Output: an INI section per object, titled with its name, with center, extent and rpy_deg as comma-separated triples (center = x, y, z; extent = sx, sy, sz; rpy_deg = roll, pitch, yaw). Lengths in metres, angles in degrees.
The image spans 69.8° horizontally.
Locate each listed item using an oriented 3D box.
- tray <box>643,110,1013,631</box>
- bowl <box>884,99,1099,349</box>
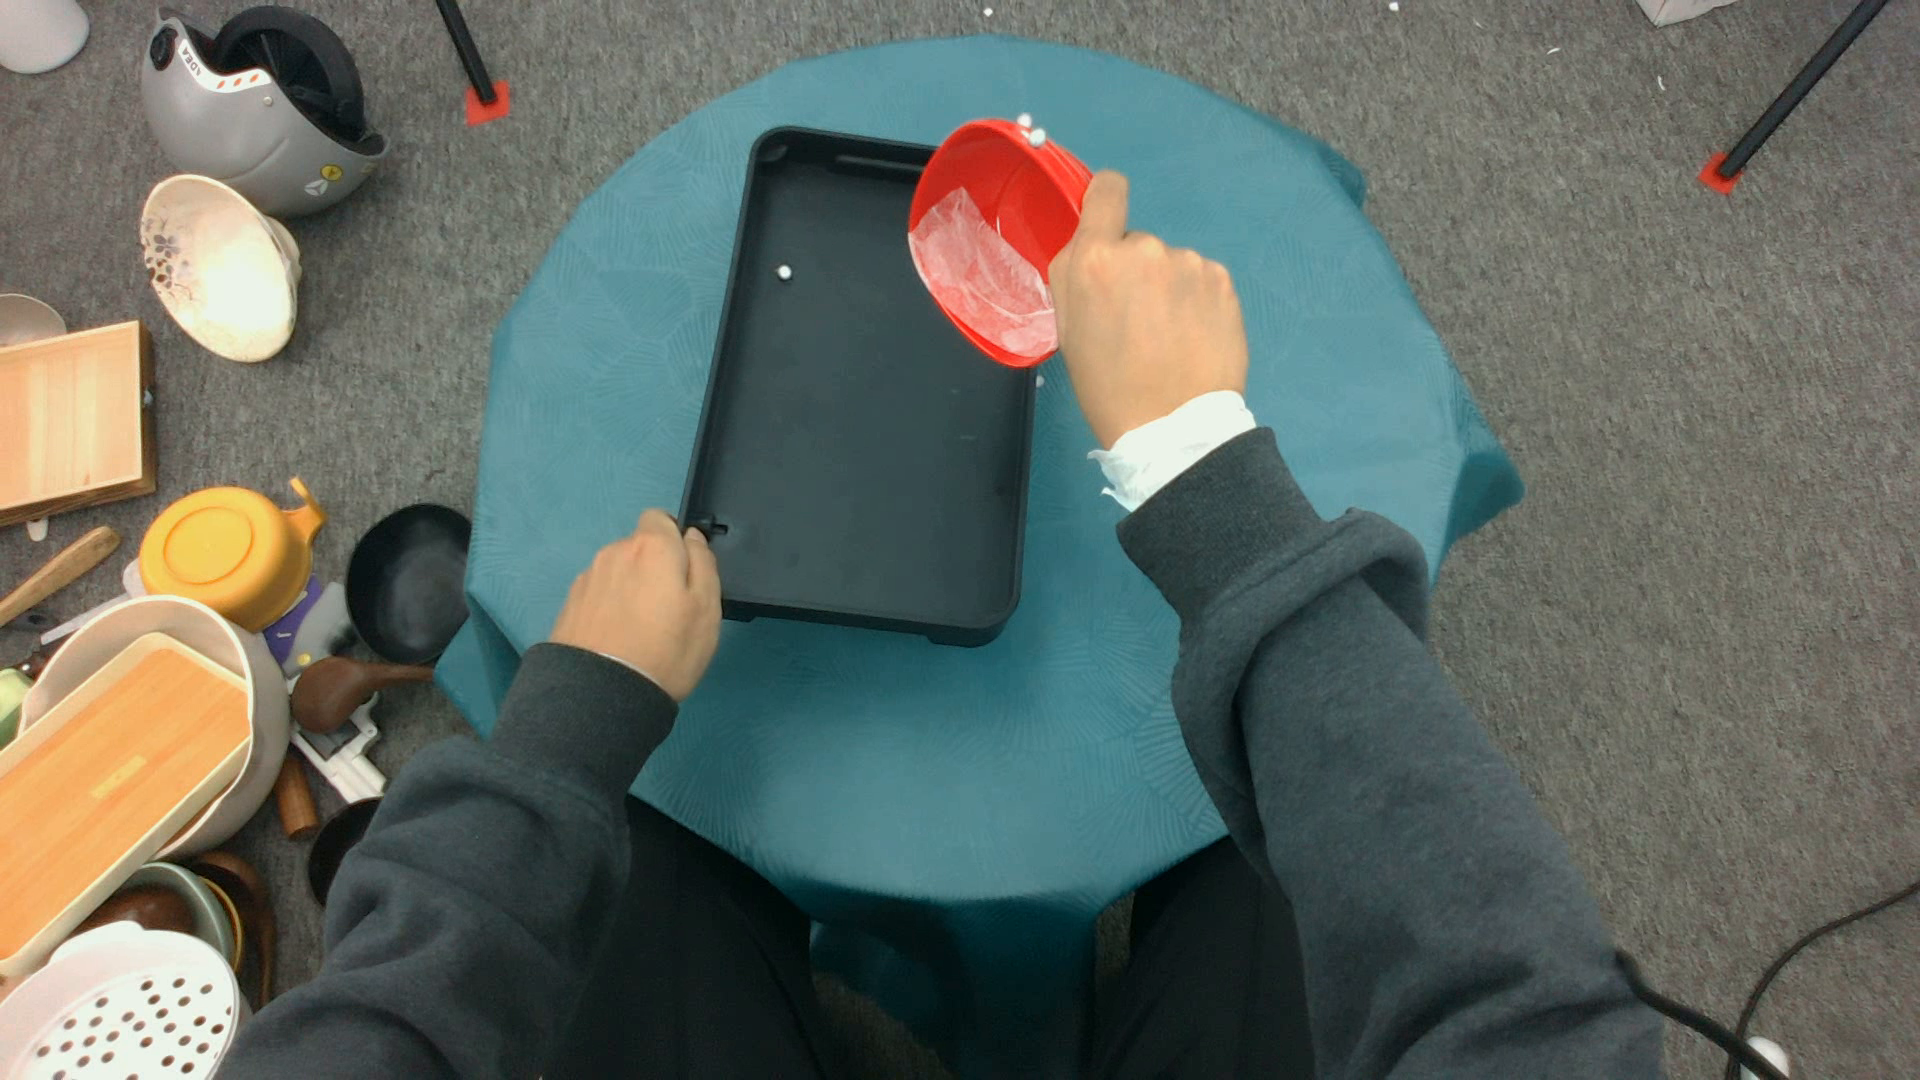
[tray]
center = -0.063, -0.105, 0.785
extent = 0.184, 0.037, 0.319
rpy_deg = 7, 63, -4
[bowl]
center = 0.022, -0.157, 0.669
extent = 0.119, 0.118, 0.051
rpy_deg = 45, 47, 17
